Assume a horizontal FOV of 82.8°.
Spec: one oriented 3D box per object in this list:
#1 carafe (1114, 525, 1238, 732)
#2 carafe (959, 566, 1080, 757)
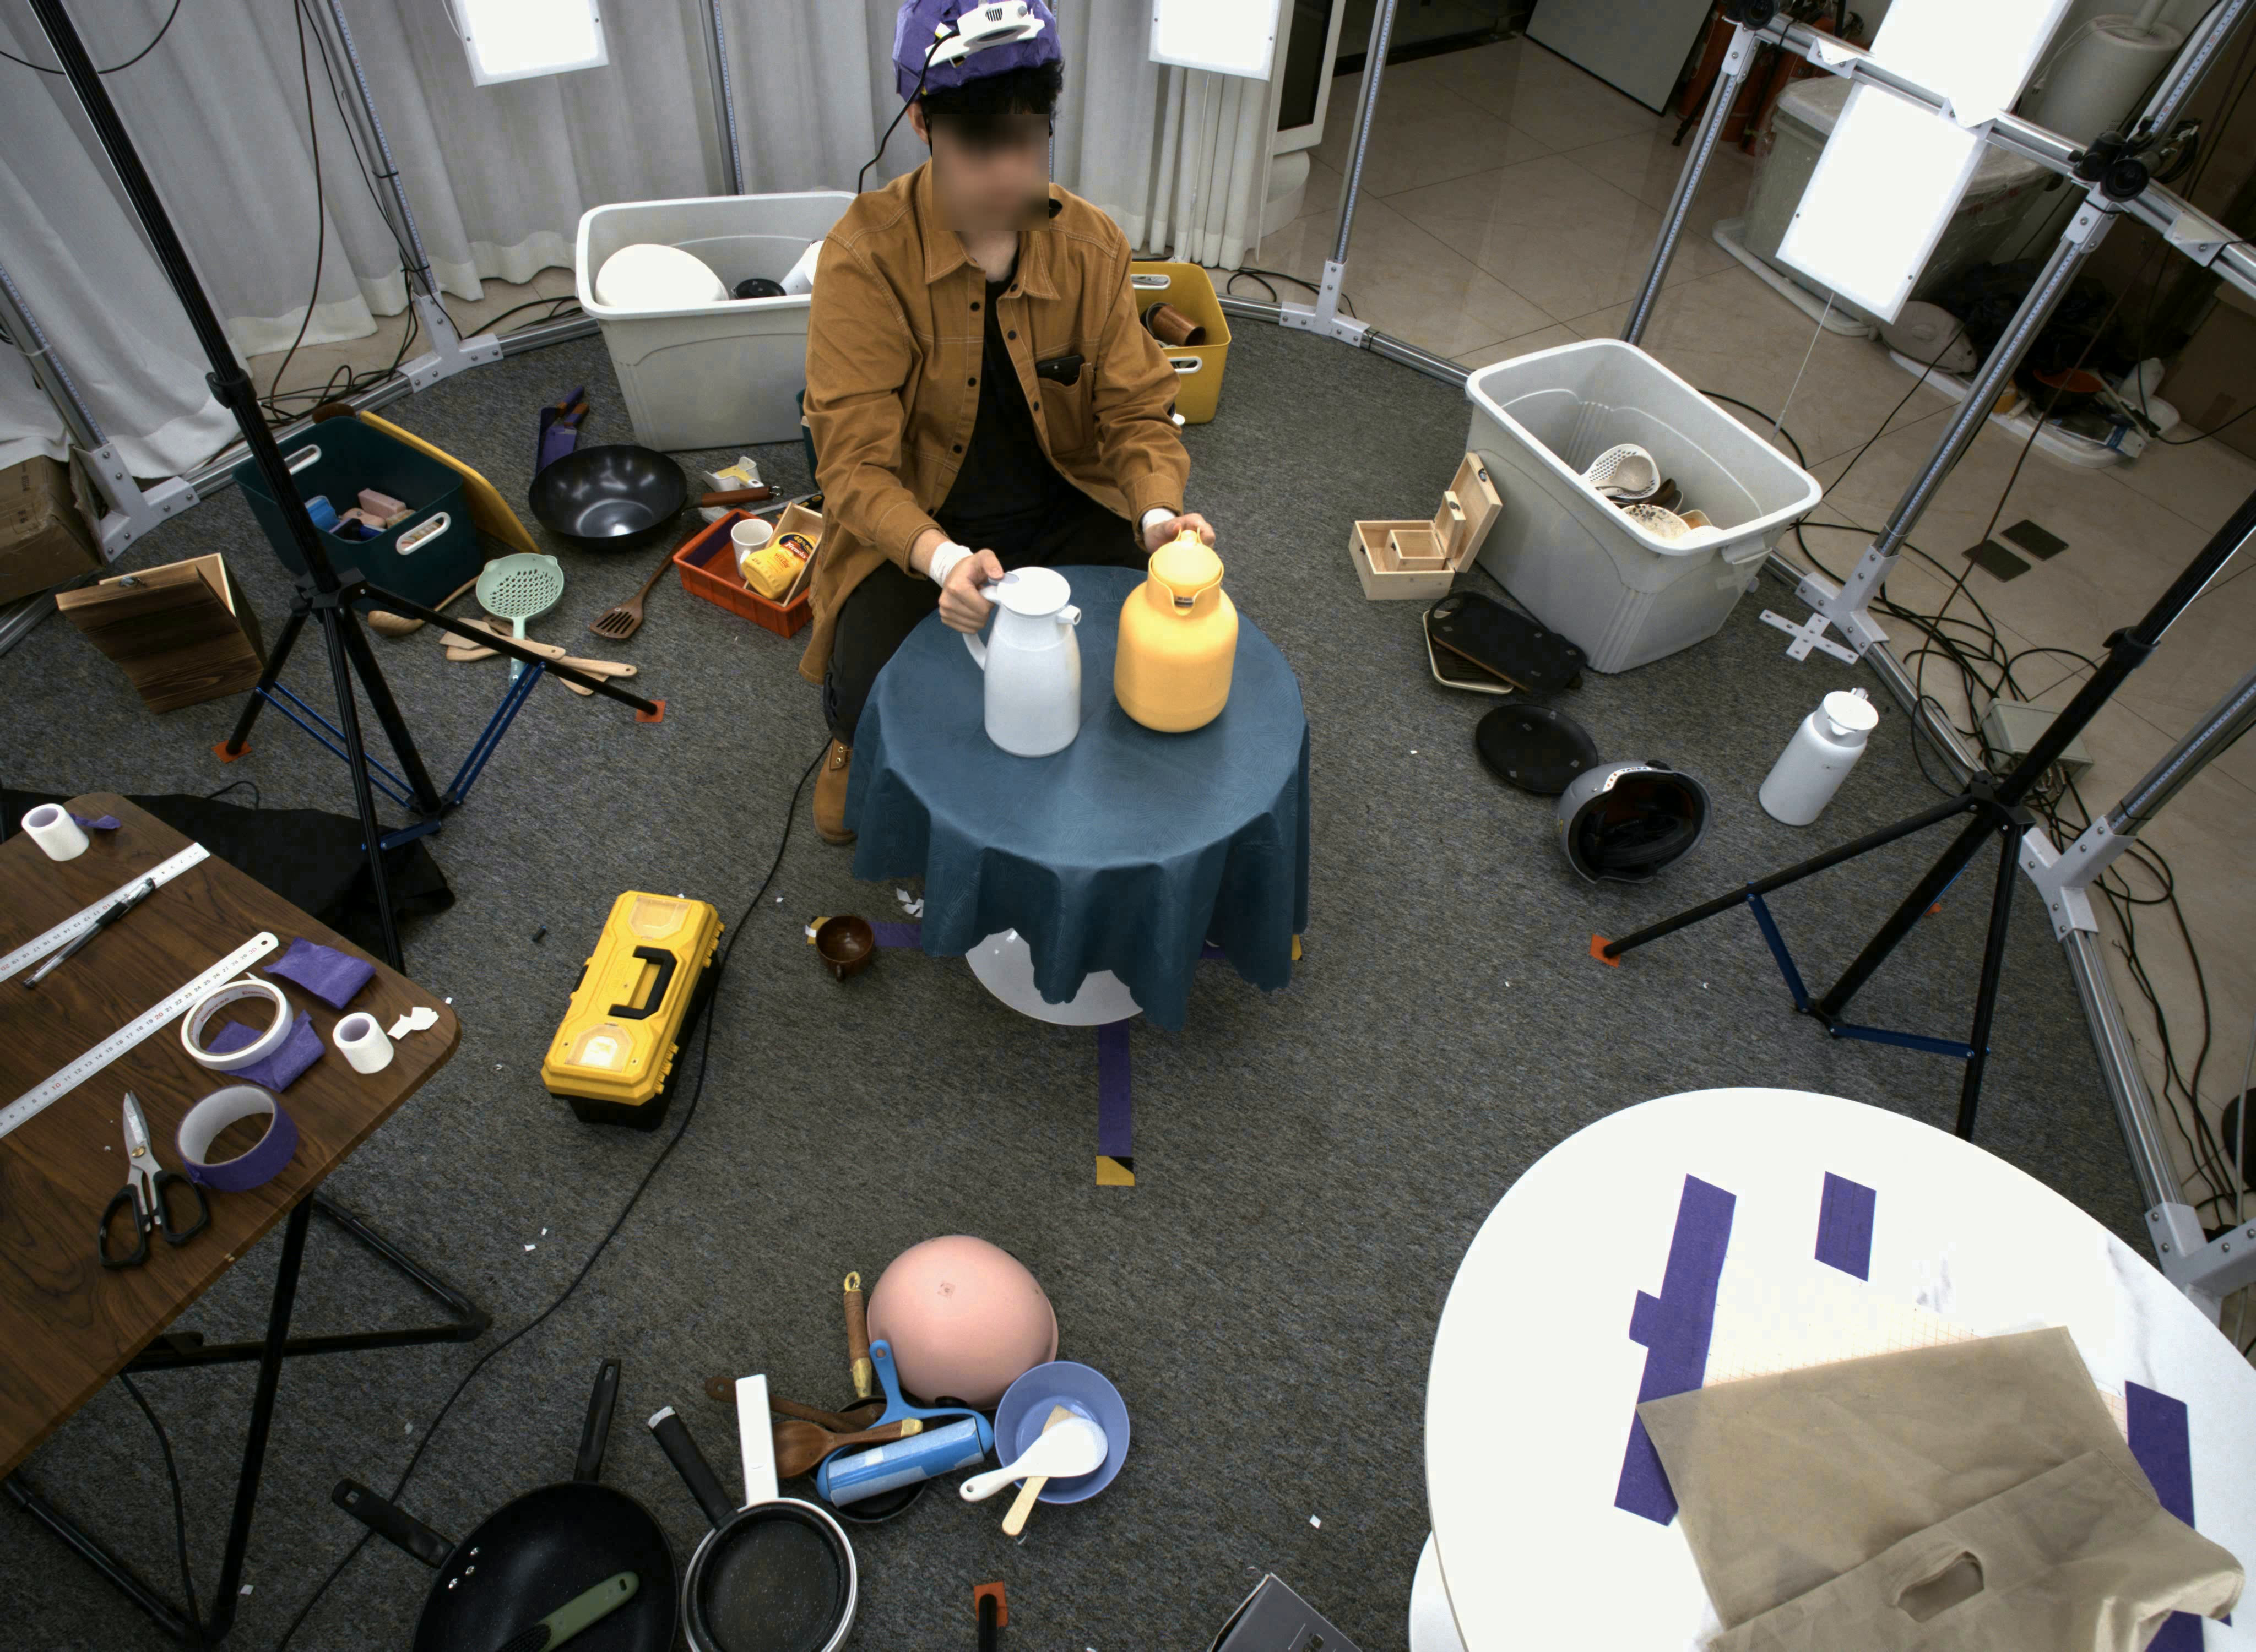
[{"bbox_3d":[0.071,-0.275,1.745,0.163,0.254,0.207,9,50,2],"label":"carafe"},{"bbox_3d":[-0.144,-0.227,1.697,0.168,0.242,0.135,21,51,14],"label":"carafe"}]
